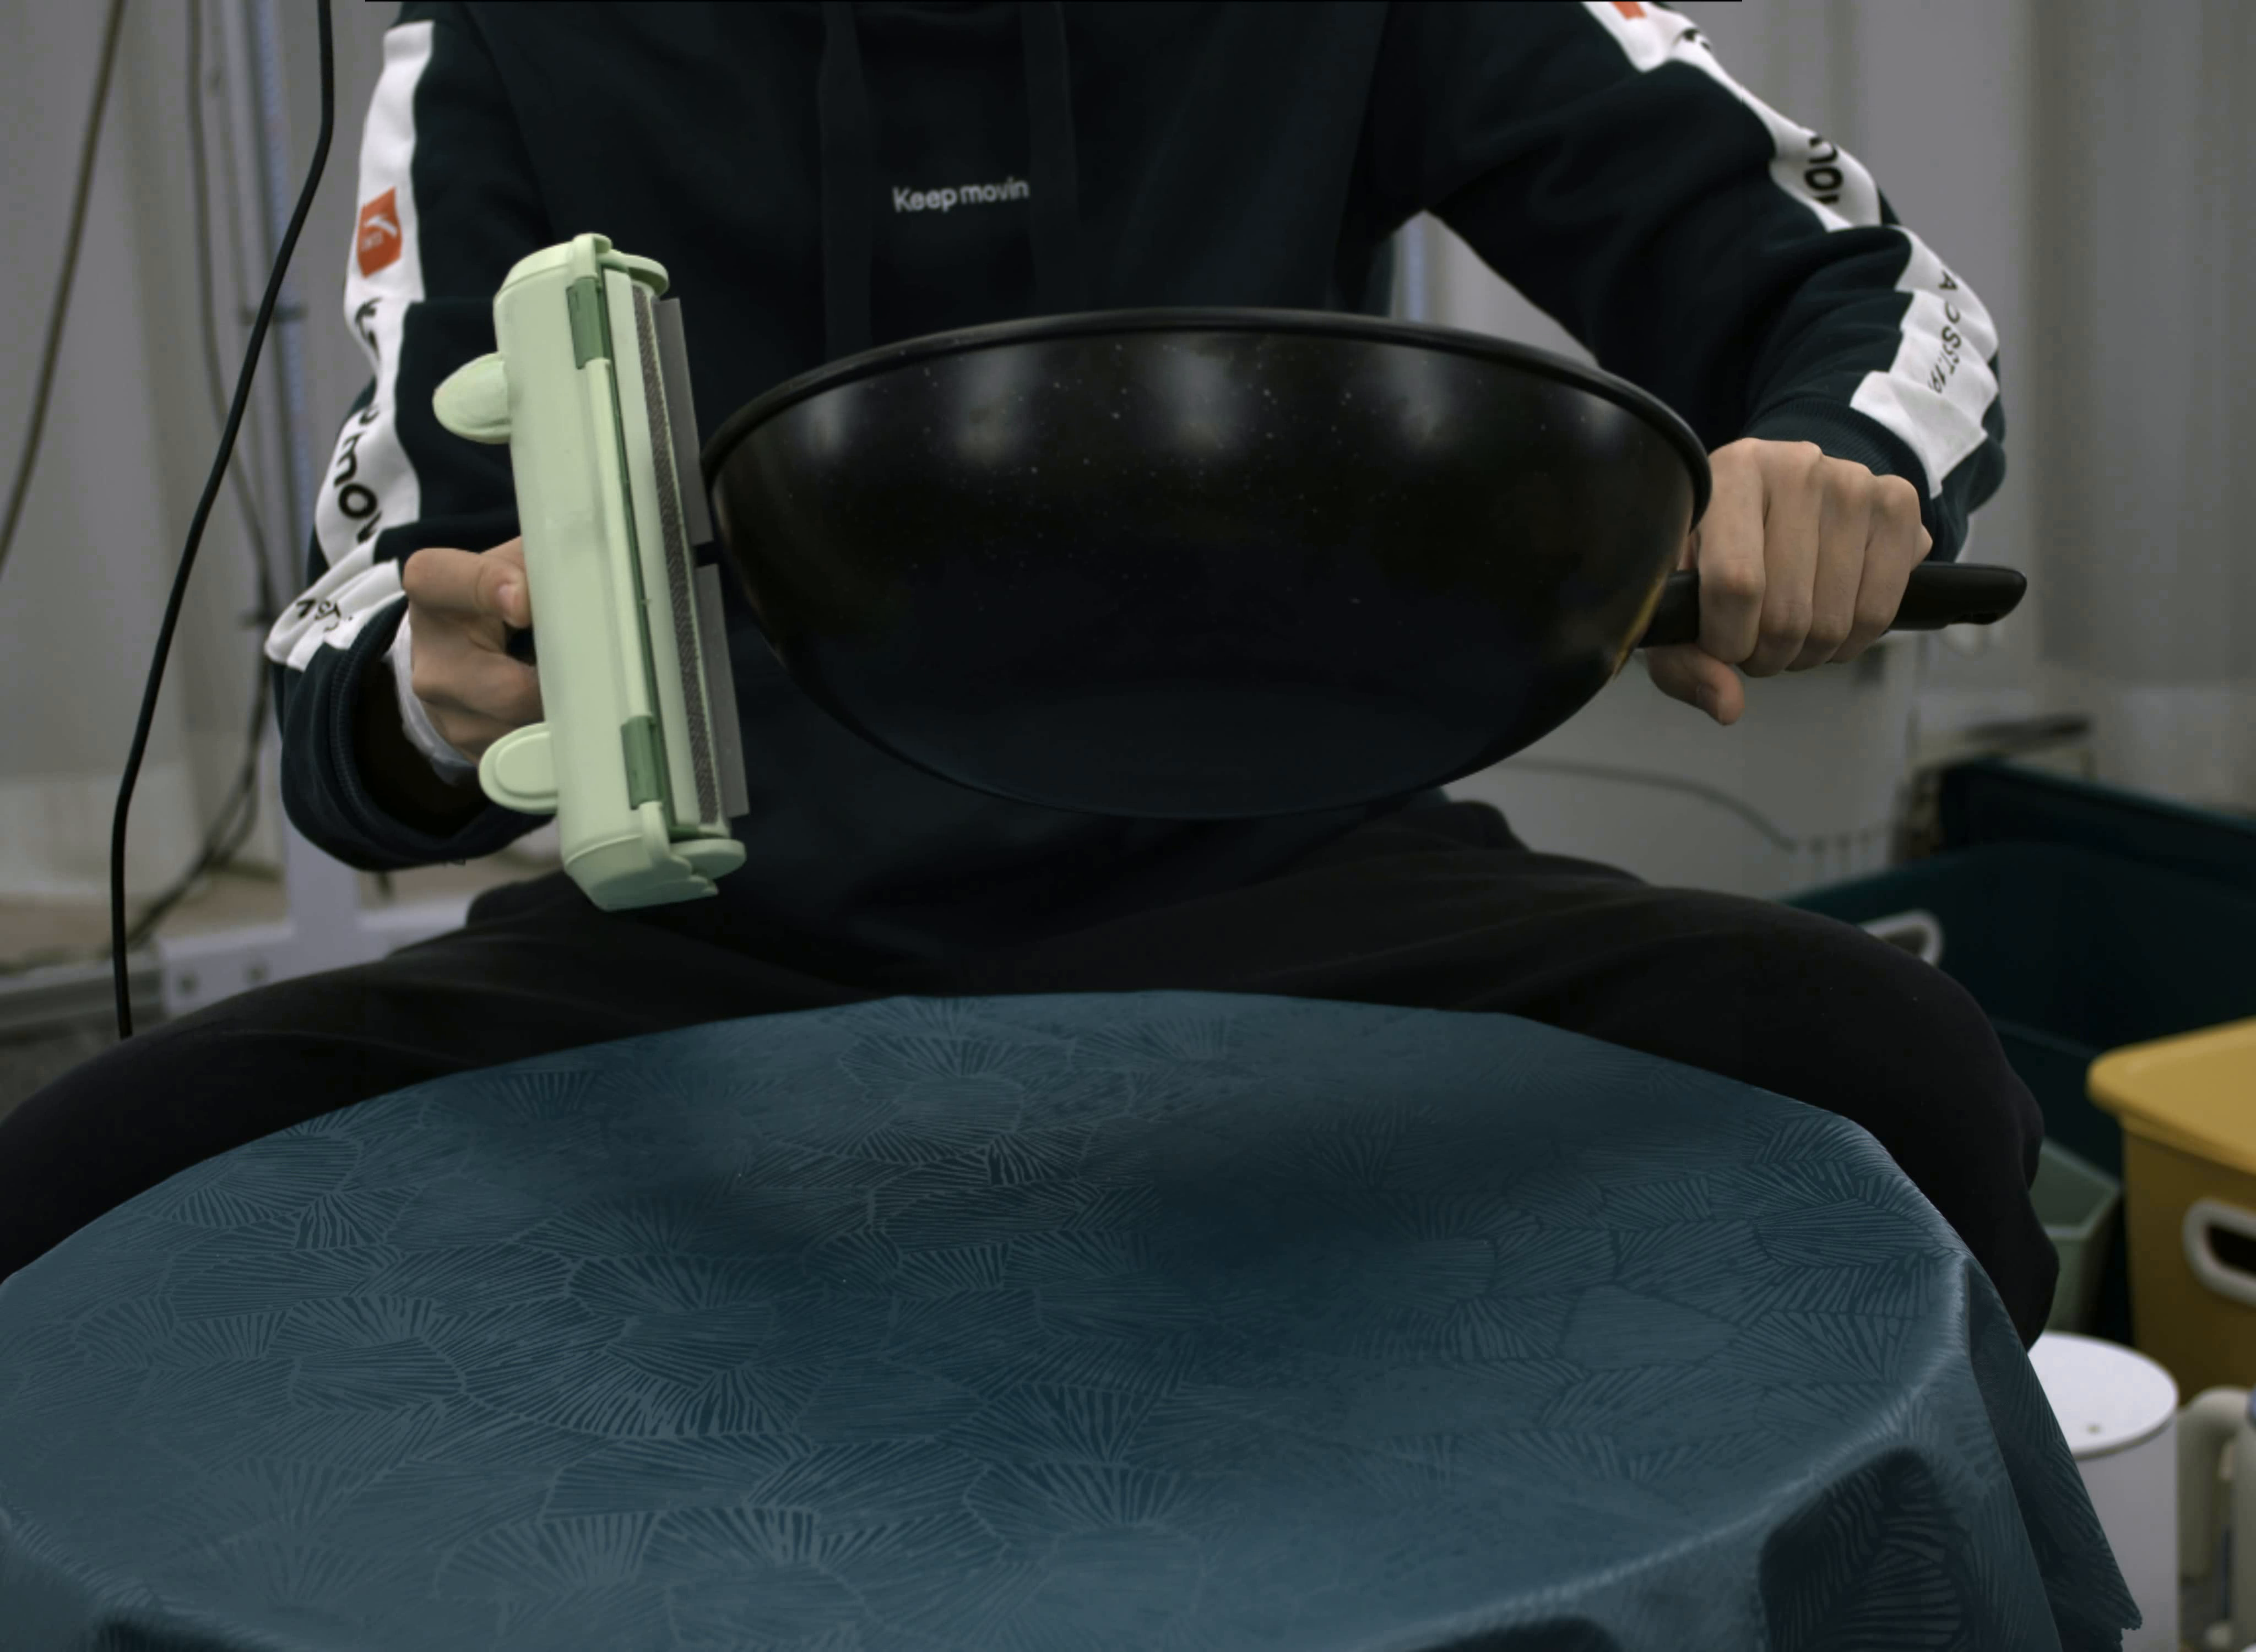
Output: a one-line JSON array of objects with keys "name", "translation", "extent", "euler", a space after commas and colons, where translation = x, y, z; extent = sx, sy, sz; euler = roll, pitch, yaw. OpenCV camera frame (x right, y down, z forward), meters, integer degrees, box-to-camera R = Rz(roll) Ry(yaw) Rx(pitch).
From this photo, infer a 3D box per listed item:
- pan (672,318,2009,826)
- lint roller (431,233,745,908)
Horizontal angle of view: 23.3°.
[{"name": "pan", "translation": [0.087, -0.061, 1.693], "extent": [0.473, 0.113, 0.309], "euler": [9, -17, -31]}, {"name": "lint roller", "translation": [-0.179, -0.060, 1.677], "extent": [0.082, 0.200, 0.182], "euler": [-2, -15, -23]}]
